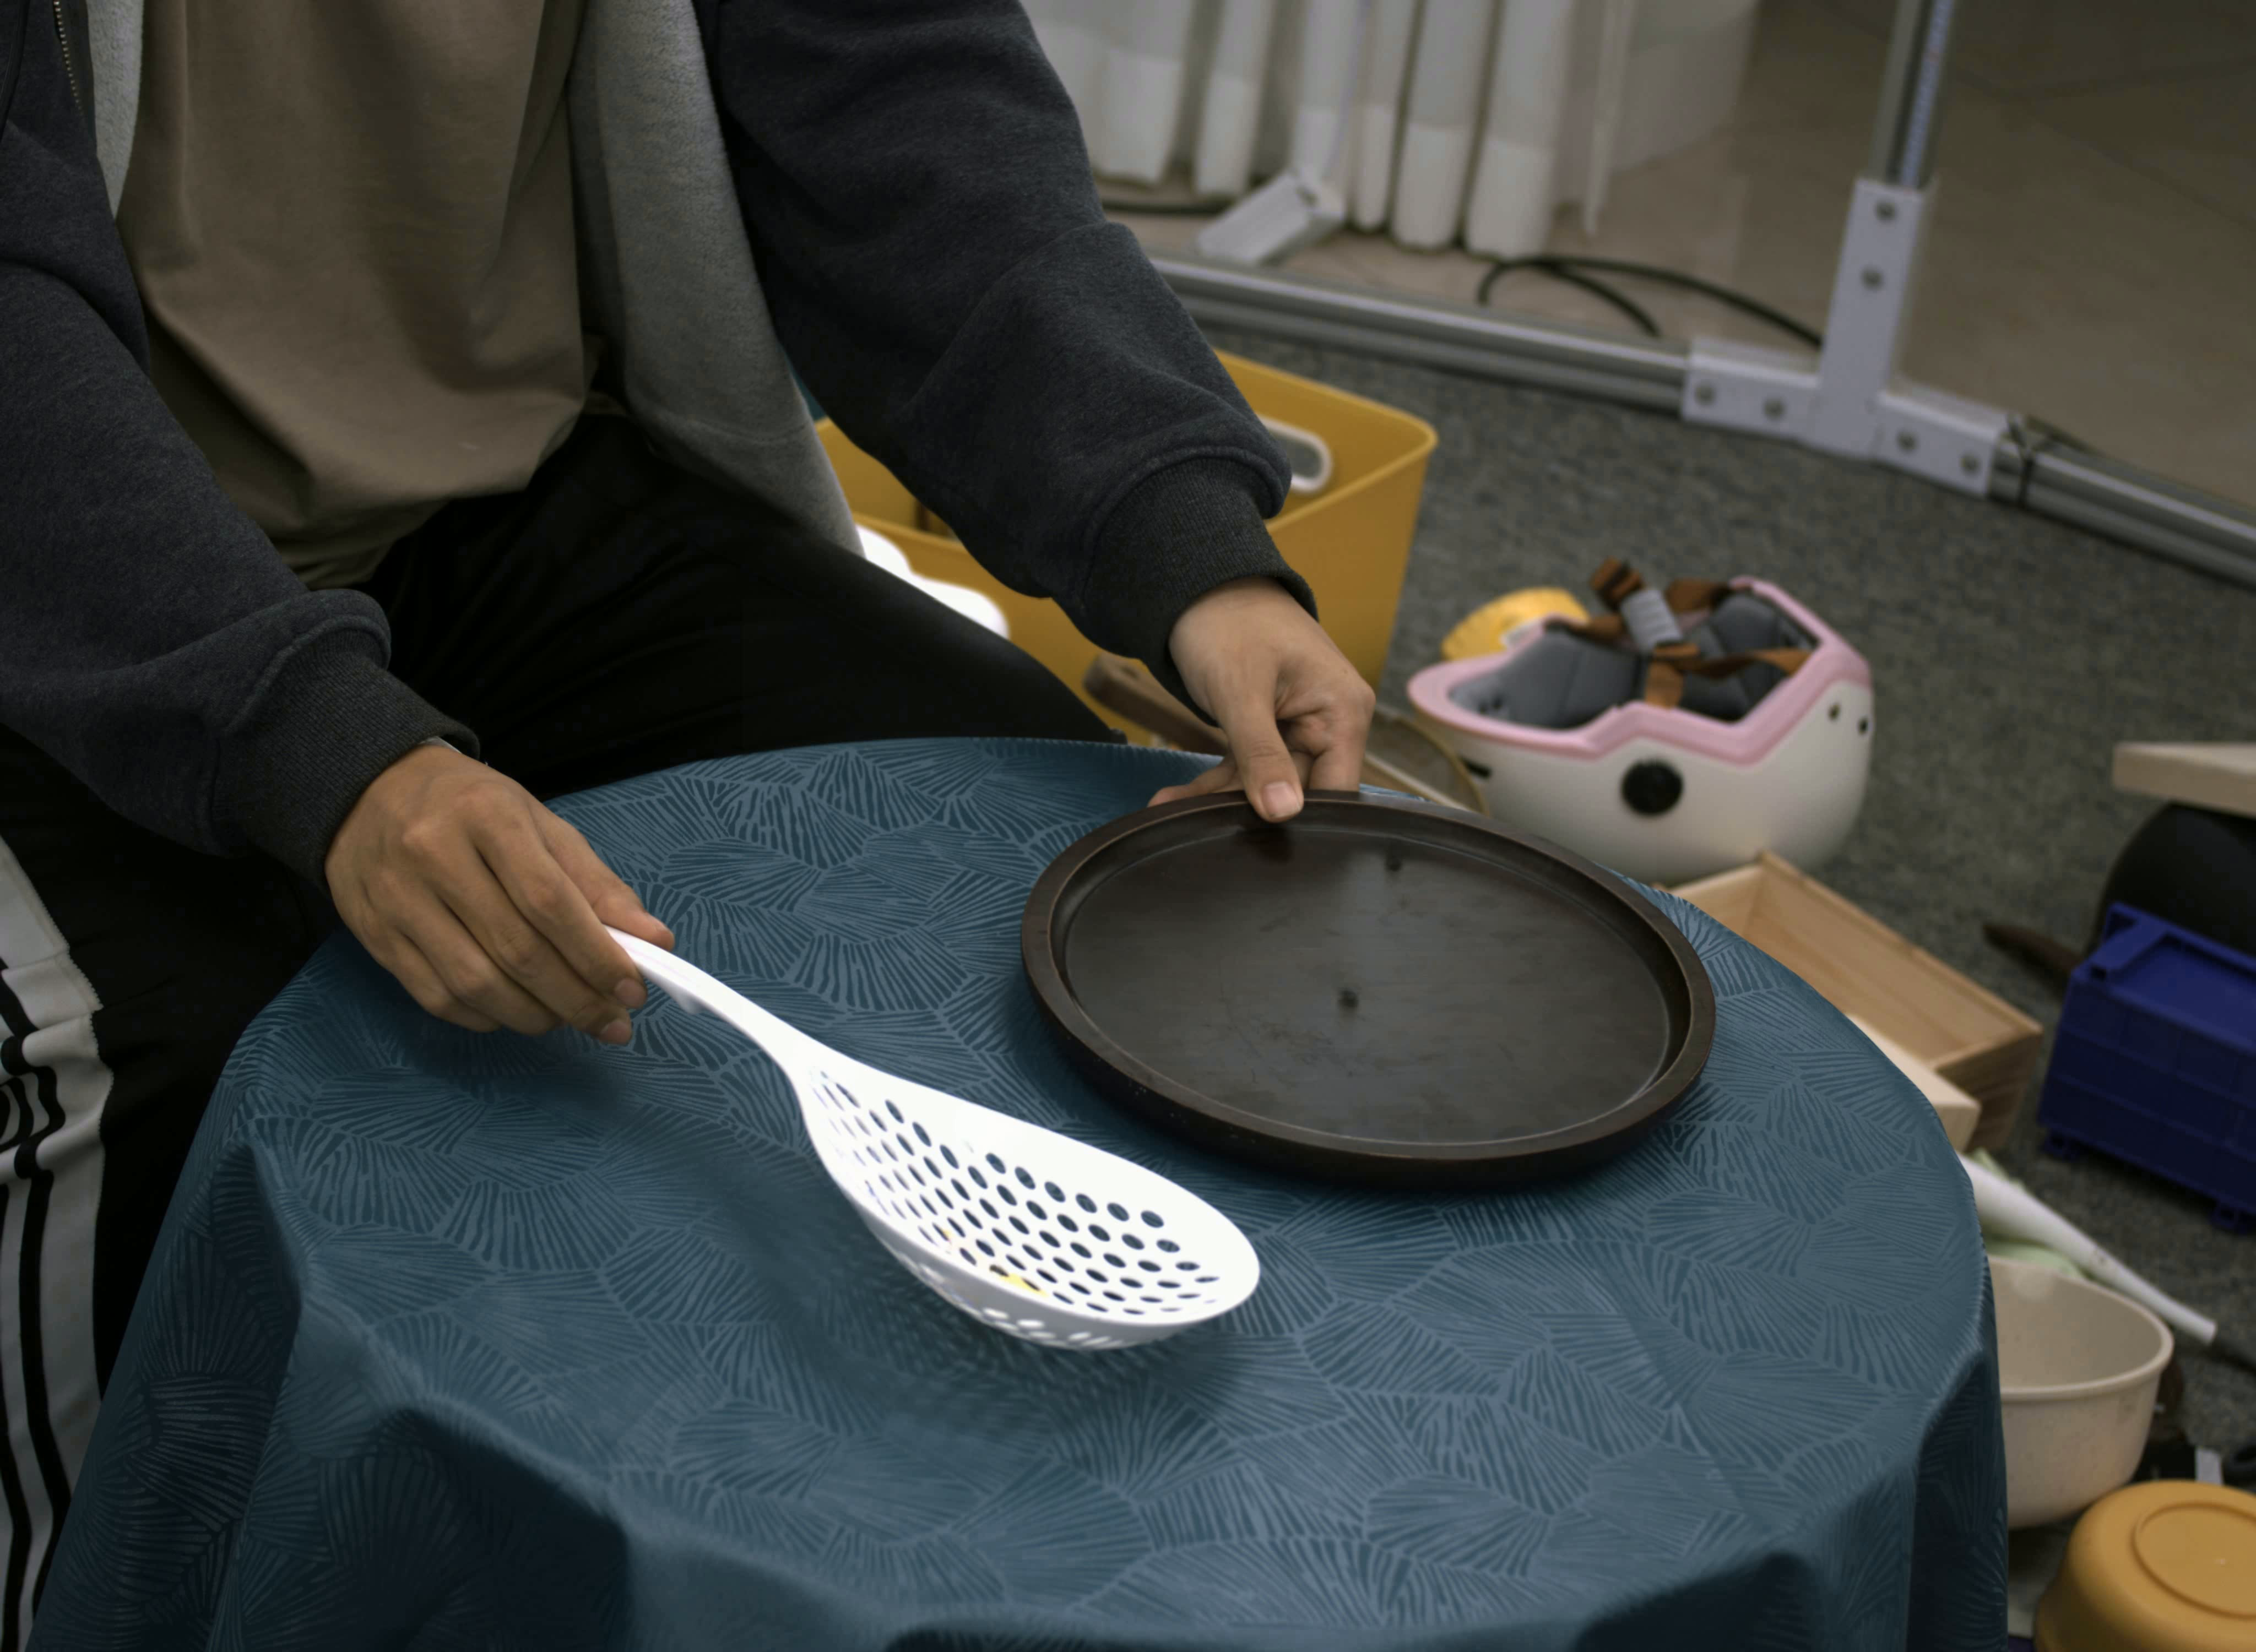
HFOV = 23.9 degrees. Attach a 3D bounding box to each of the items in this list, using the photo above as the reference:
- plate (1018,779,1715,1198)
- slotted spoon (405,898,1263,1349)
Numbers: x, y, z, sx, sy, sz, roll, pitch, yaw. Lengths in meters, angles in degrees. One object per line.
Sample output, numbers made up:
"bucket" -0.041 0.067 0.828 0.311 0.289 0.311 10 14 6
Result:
"plate" 0.085 0.058 1.912 0.254 0.029 0.256 5 30 -3
"slotted spoon" -0.109 0.088 1.769 0.350 0.050 0.136 33 25 29
